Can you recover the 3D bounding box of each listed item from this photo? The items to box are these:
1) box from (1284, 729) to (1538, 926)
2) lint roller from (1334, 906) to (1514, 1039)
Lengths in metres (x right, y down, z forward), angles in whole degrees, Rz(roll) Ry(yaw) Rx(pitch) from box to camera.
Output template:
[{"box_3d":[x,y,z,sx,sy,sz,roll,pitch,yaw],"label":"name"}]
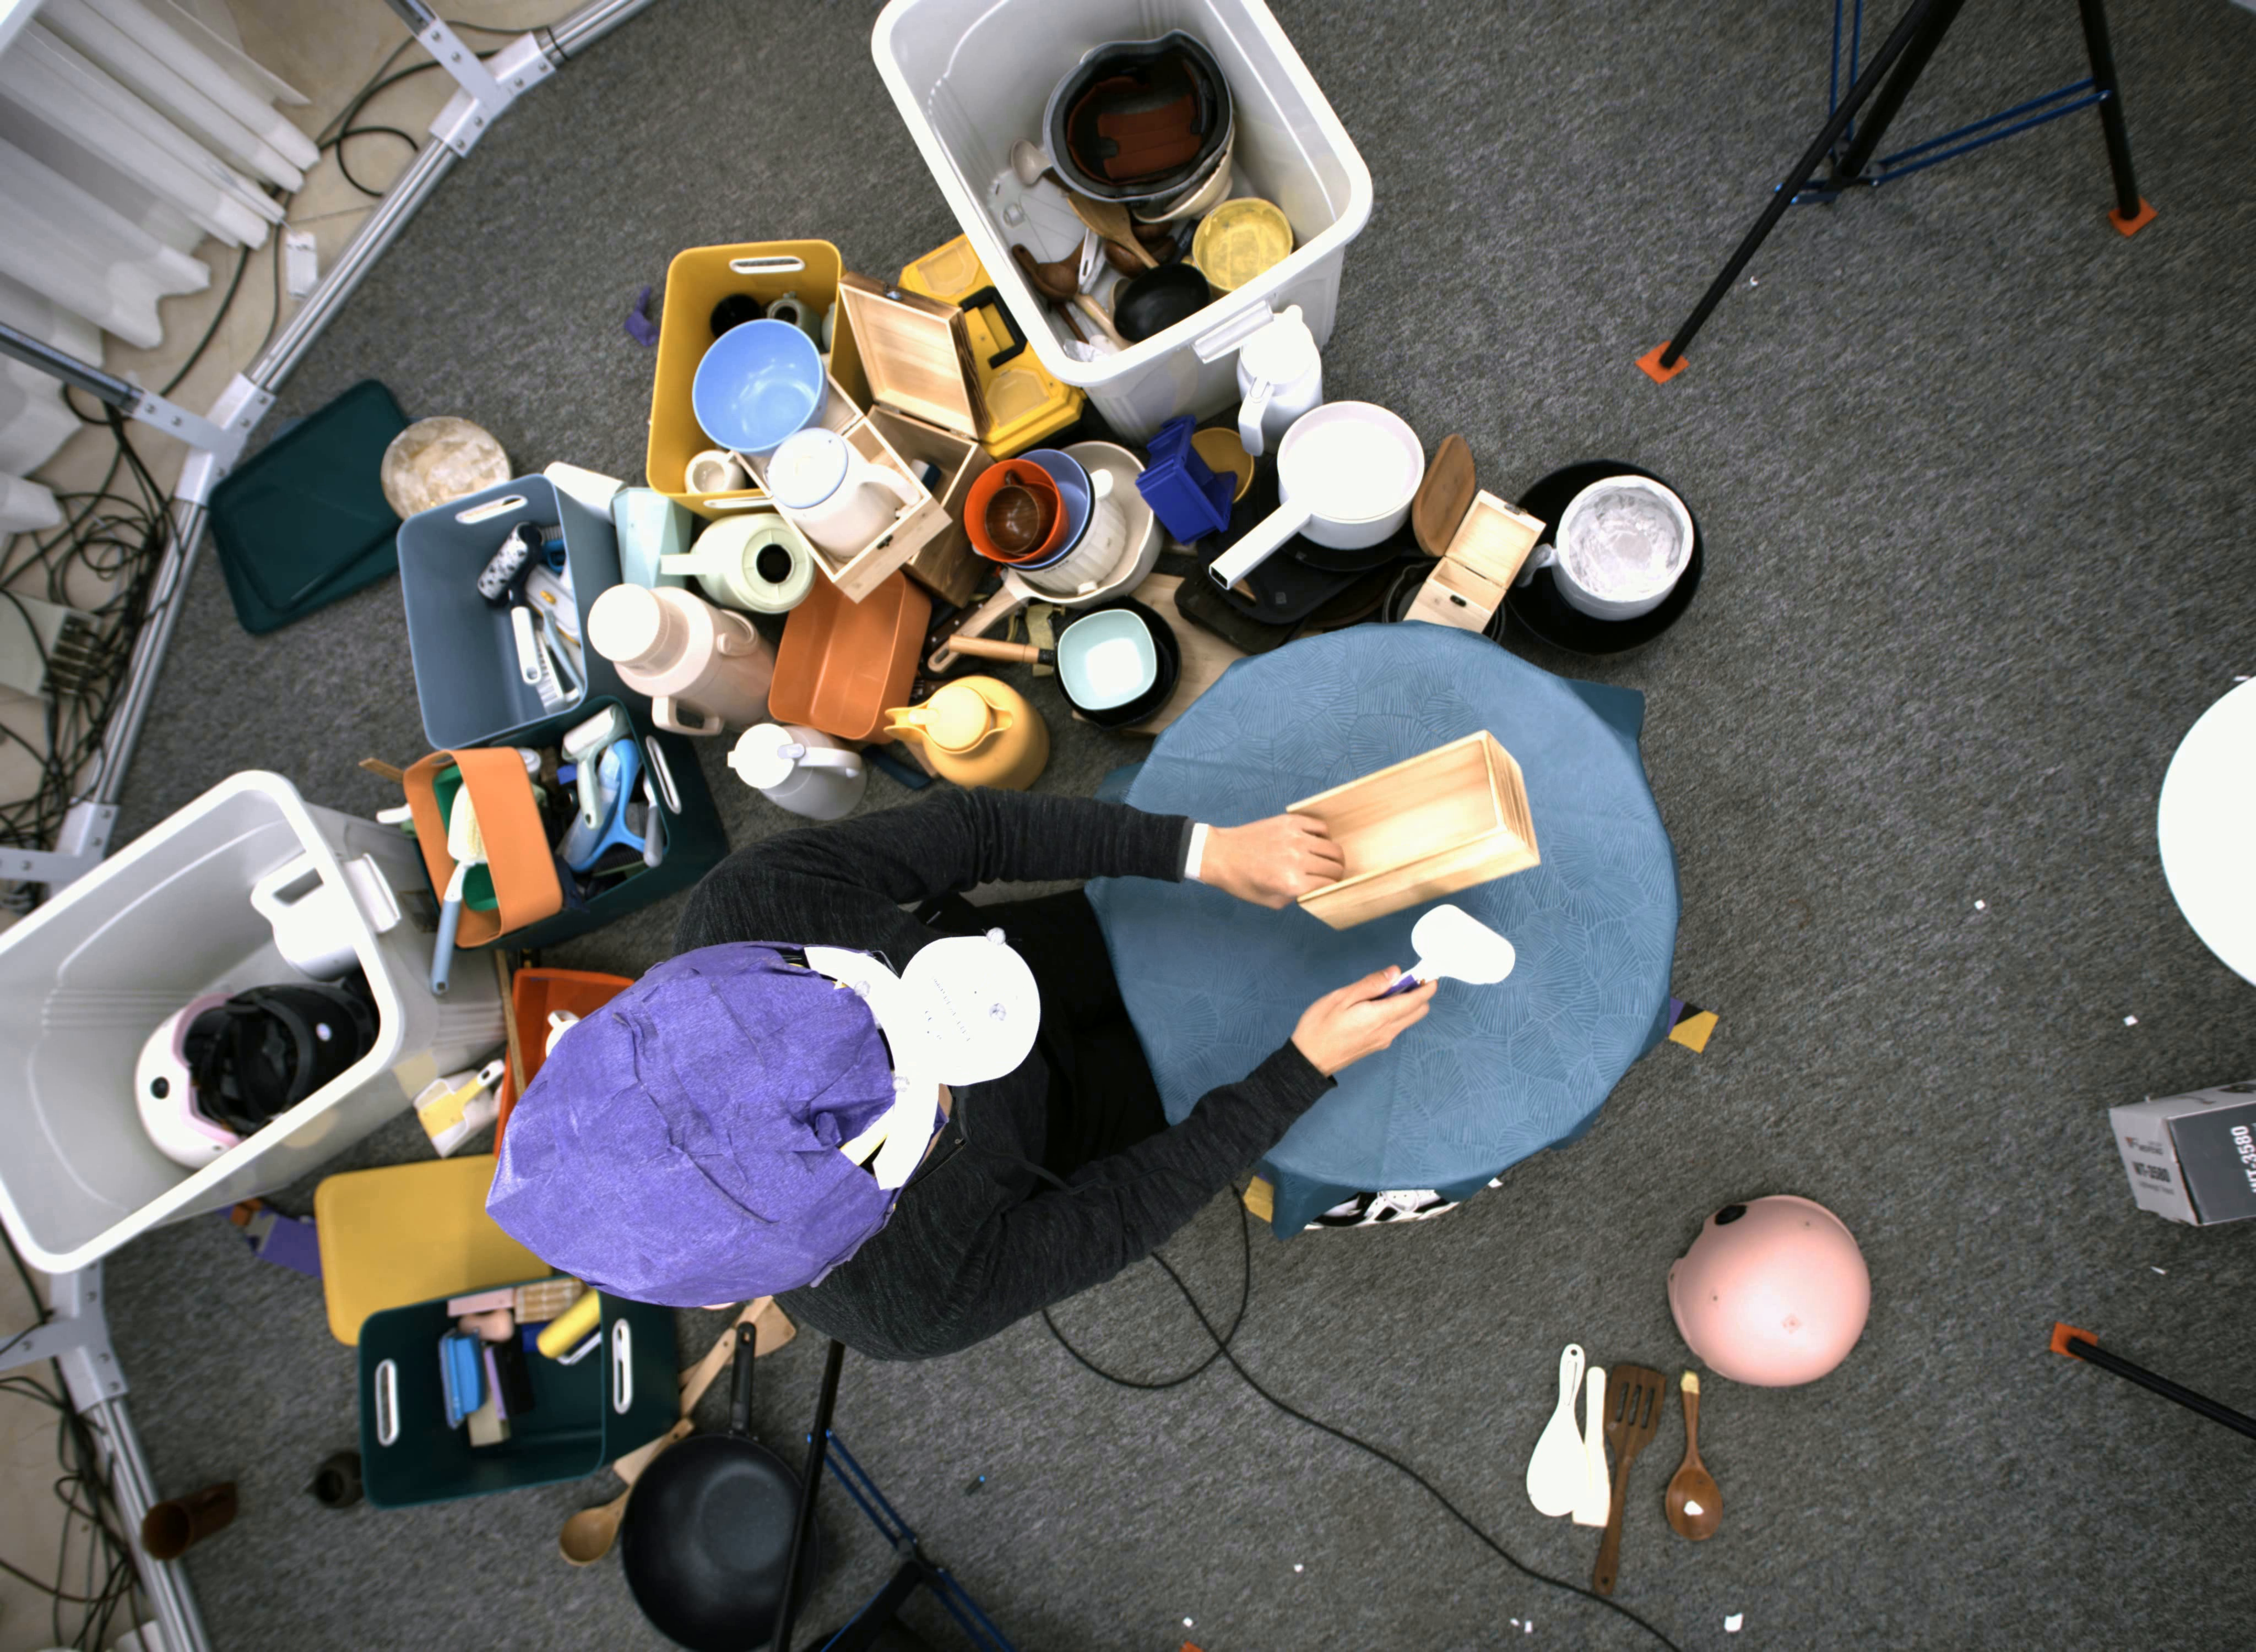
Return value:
[{"box_3d":[0.262,0.004,1.294,0.215,0.080,0.105,-23,58,31],"label":"box"},{"box_3d":[0.270,0.153,1.301,0.183,0.134,0.049,-43,46,17],"label":"lint roller"}]
